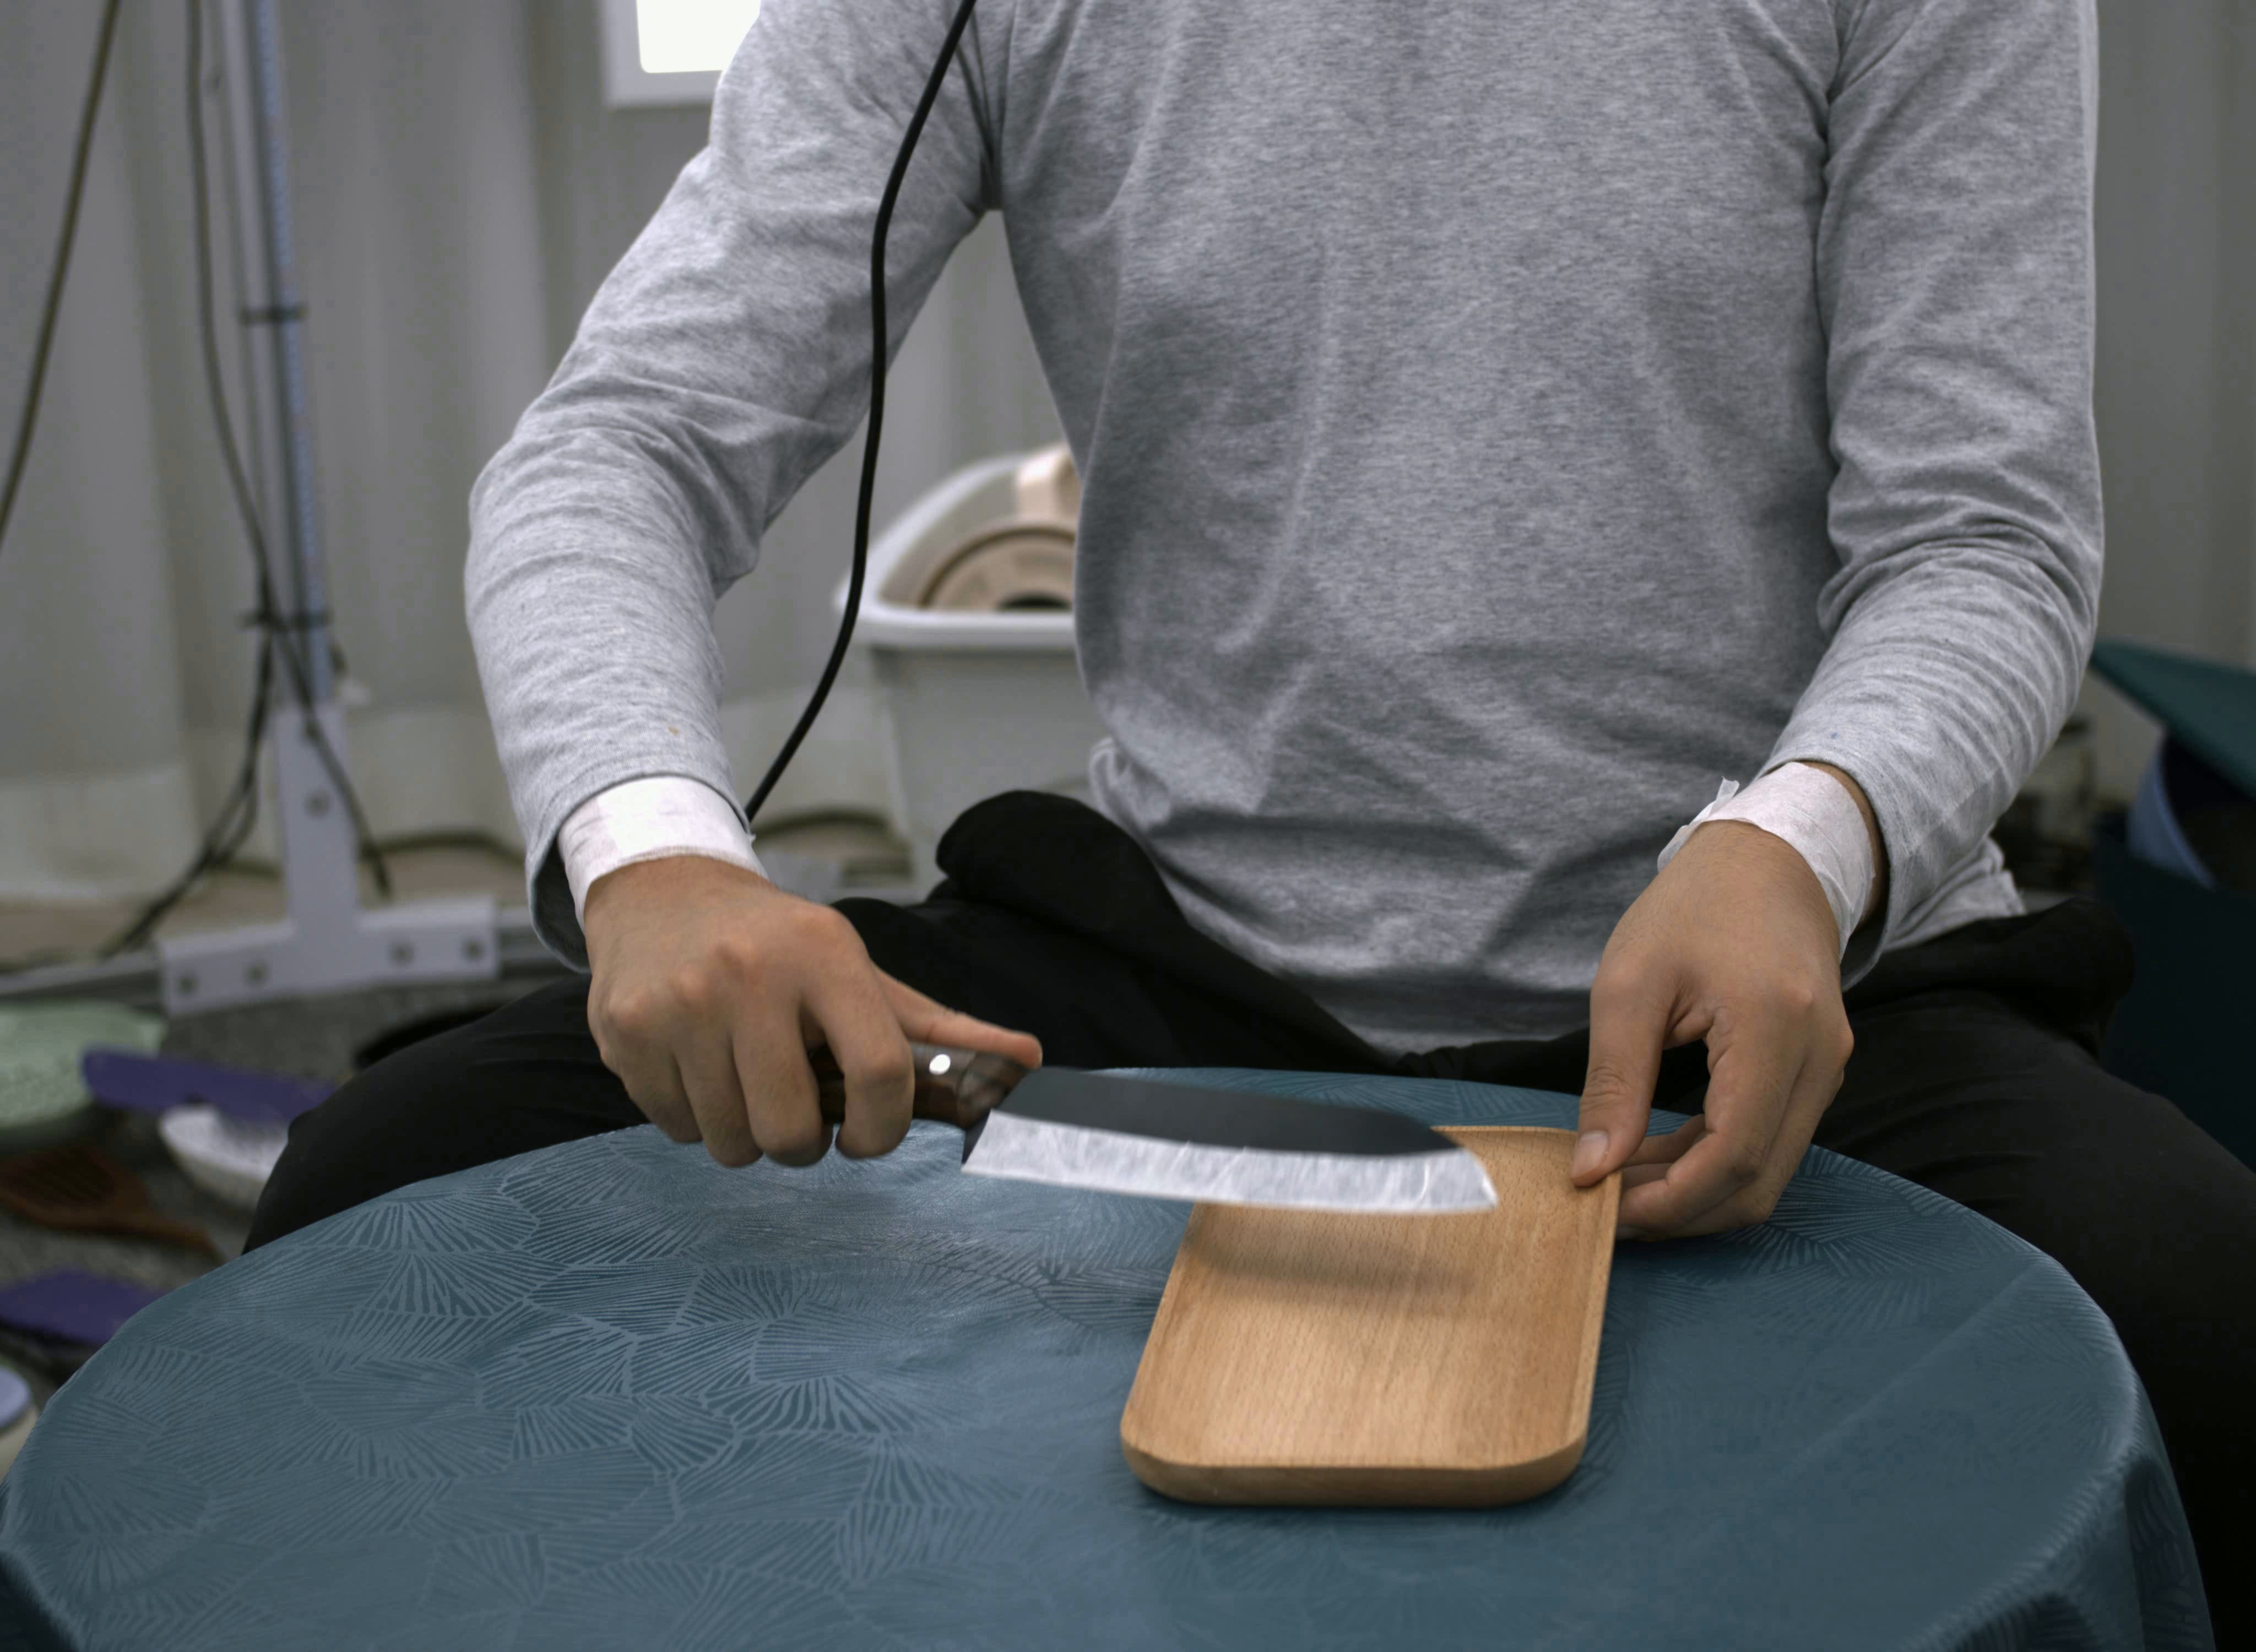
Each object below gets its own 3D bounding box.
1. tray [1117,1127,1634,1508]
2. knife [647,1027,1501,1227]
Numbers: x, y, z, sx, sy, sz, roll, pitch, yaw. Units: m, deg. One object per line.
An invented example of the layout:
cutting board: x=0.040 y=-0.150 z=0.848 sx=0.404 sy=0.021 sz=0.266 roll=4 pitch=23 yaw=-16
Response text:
tray: x=0.075 y=0.137 z=1.565 sx=0.130 sy=0.023 sz=0.252 roll=2 pitch=17 yaw=9
knife: x=-0.021 y=0.090 z=1.623 sx=0.290 sy=0.020 sz=0.051 roll=8 pitch=49 yaw=27
